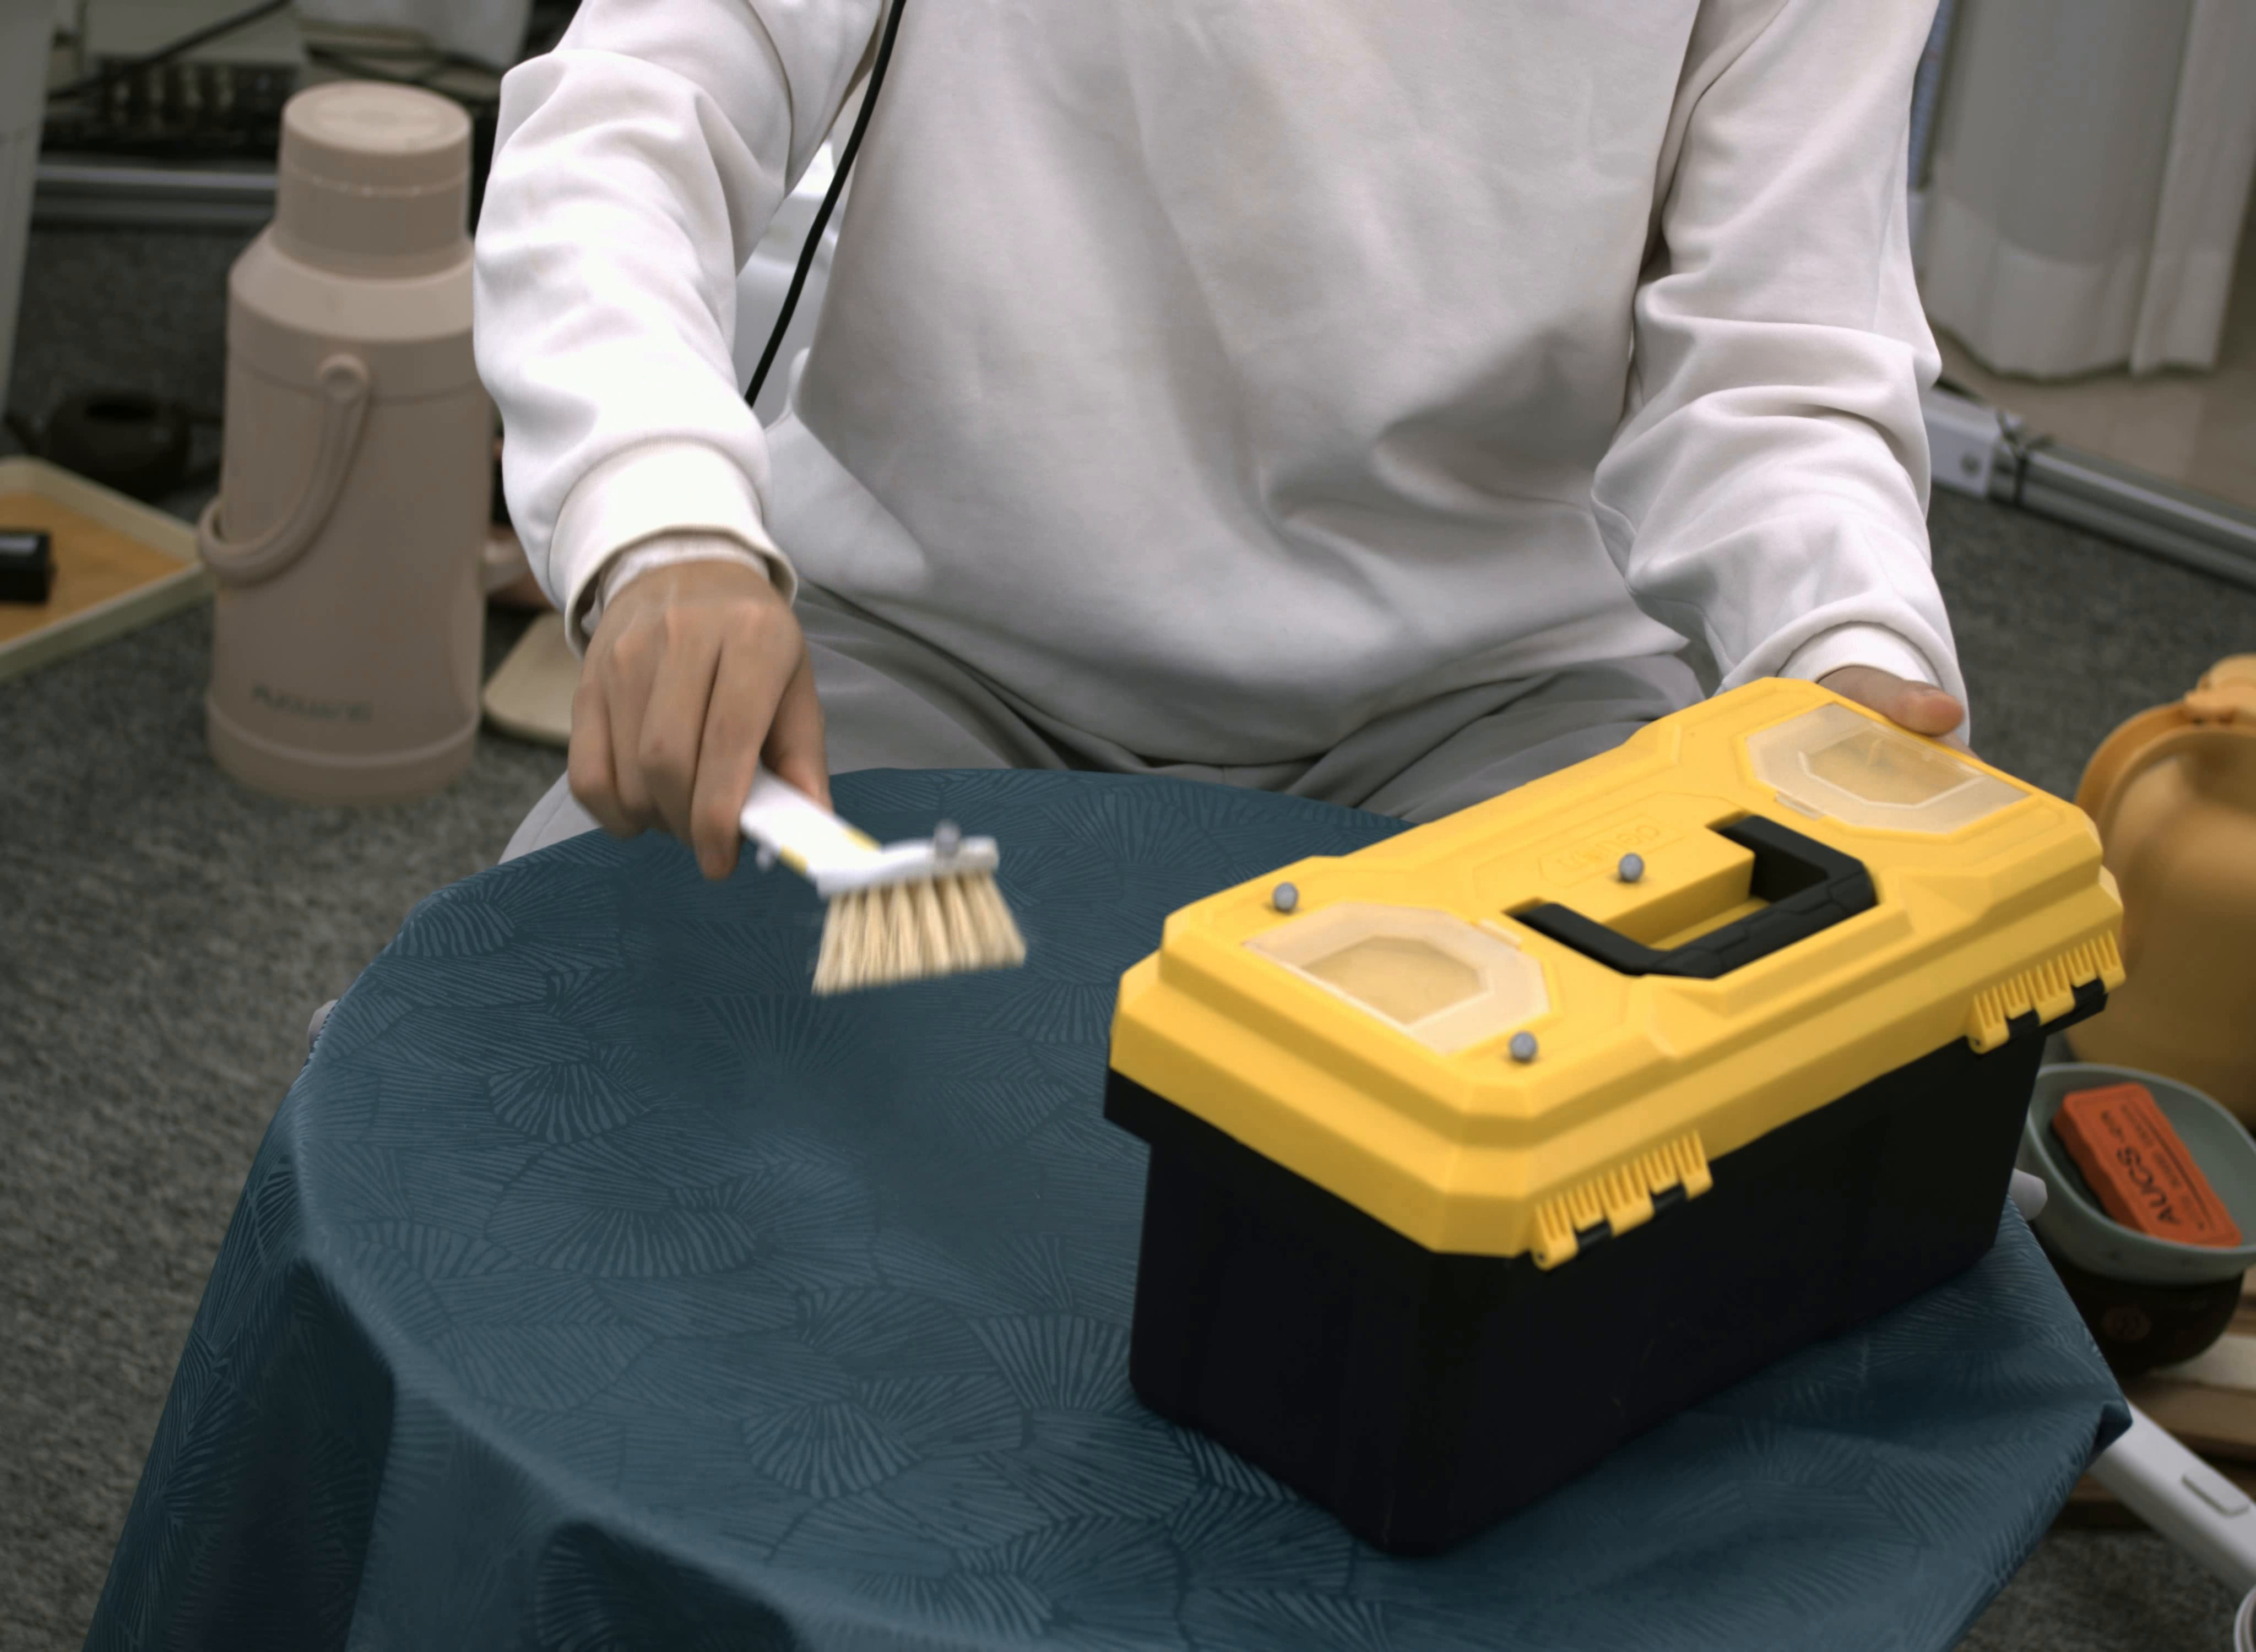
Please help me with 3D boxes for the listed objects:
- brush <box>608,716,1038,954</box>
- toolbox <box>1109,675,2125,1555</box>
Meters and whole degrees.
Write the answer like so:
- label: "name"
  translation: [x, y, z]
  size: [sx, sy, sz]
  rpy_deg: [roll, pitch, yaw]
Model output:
- label: "brush"
  translation: [-0.111, 0.004, 1.795]
  size: [0.068, 0.056, 0.268]
  rpy_deg: [2, 6, -30]
- label: "toolbox"
  translation: [0.156, 0.087, 1.724]
  size: [0.182, 0.172, 0.350]
  rpy_deg: [29, 34, 35]
